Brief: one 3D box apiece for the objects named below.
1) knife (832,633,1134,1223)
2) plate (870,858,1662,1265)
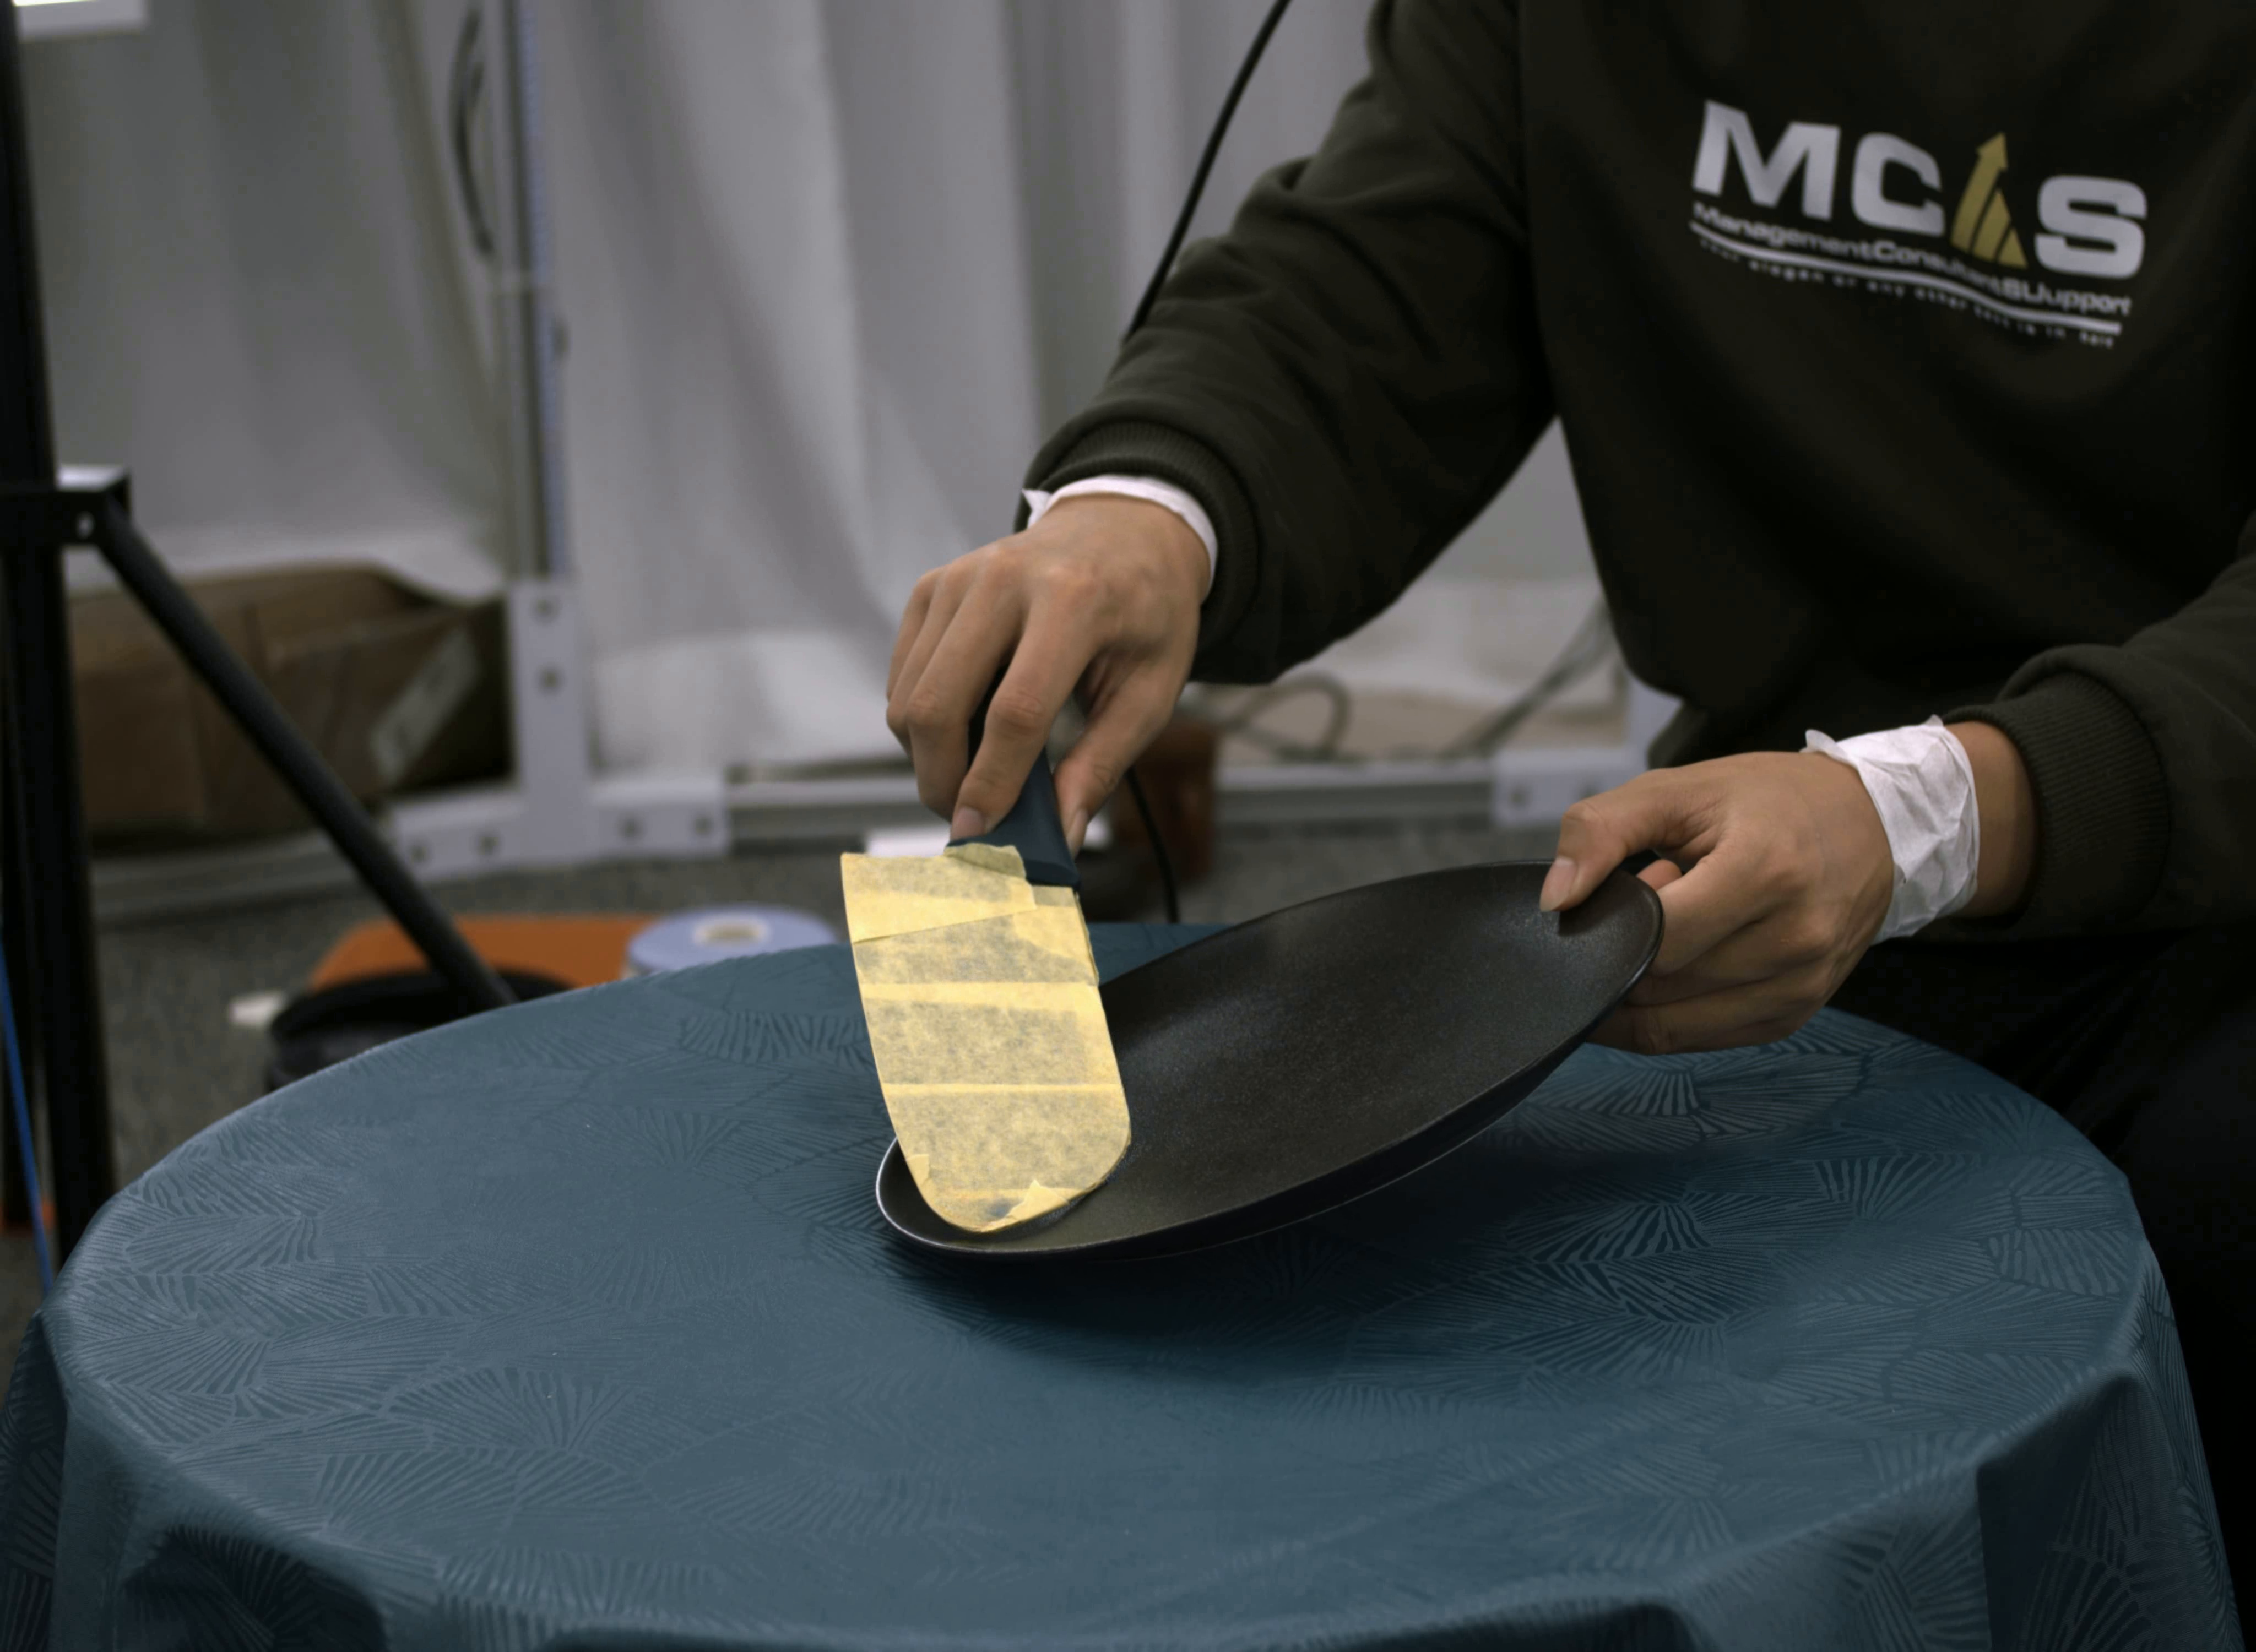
[{"bbox_3d":[-0.048,0.027,1.608,0.080,0.027,0.293,4,34,-11],"label":"knife"},{"bbox_3d":[0.042,0.073,1.536,0.244,0.023,0.246,-21,16,4],"label":"plate"}]
